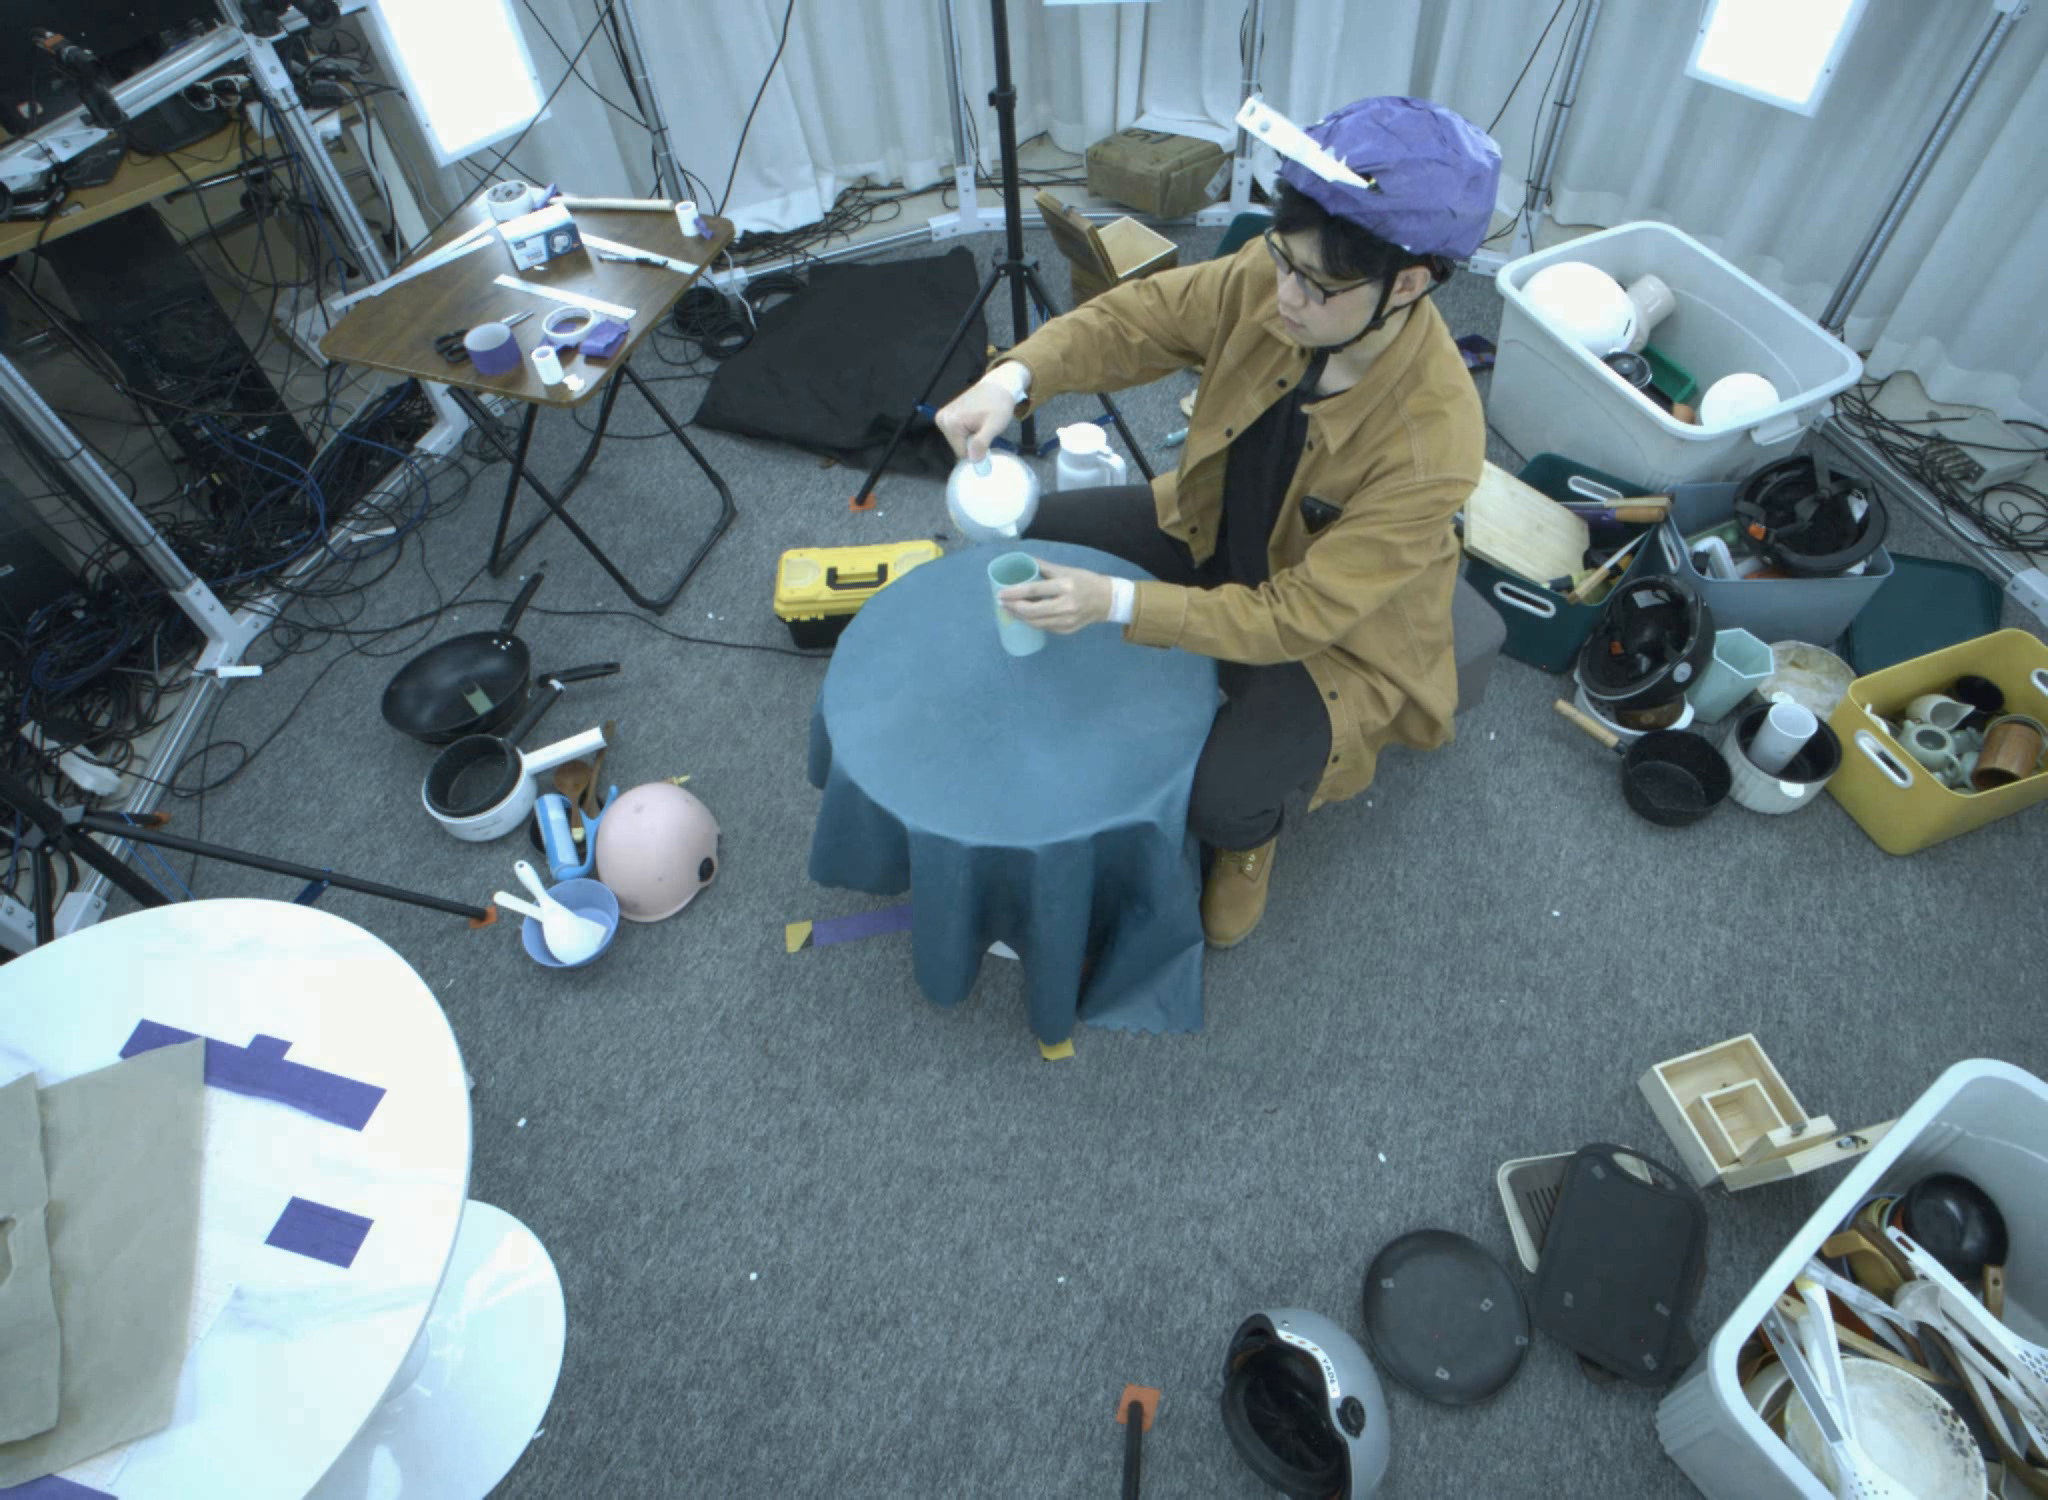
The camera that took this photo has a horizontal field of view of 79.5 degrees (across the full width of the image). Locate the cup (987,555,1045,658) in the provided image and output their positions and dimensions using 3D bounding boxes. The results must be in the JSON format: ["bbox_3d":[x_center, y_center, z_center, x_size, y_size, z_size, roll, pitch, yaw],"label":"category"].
[{"bbox_3d":[-0.008,-0.191,1.640,0.066,0.134,0.066,-3,52,5],"label":"cup"}]

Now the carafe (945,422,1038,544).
[{"bbox_3d":[-0.053,-0.366,1.664,0.132,0.247,0.168,-21,99,1],"label":"carafe"}]
